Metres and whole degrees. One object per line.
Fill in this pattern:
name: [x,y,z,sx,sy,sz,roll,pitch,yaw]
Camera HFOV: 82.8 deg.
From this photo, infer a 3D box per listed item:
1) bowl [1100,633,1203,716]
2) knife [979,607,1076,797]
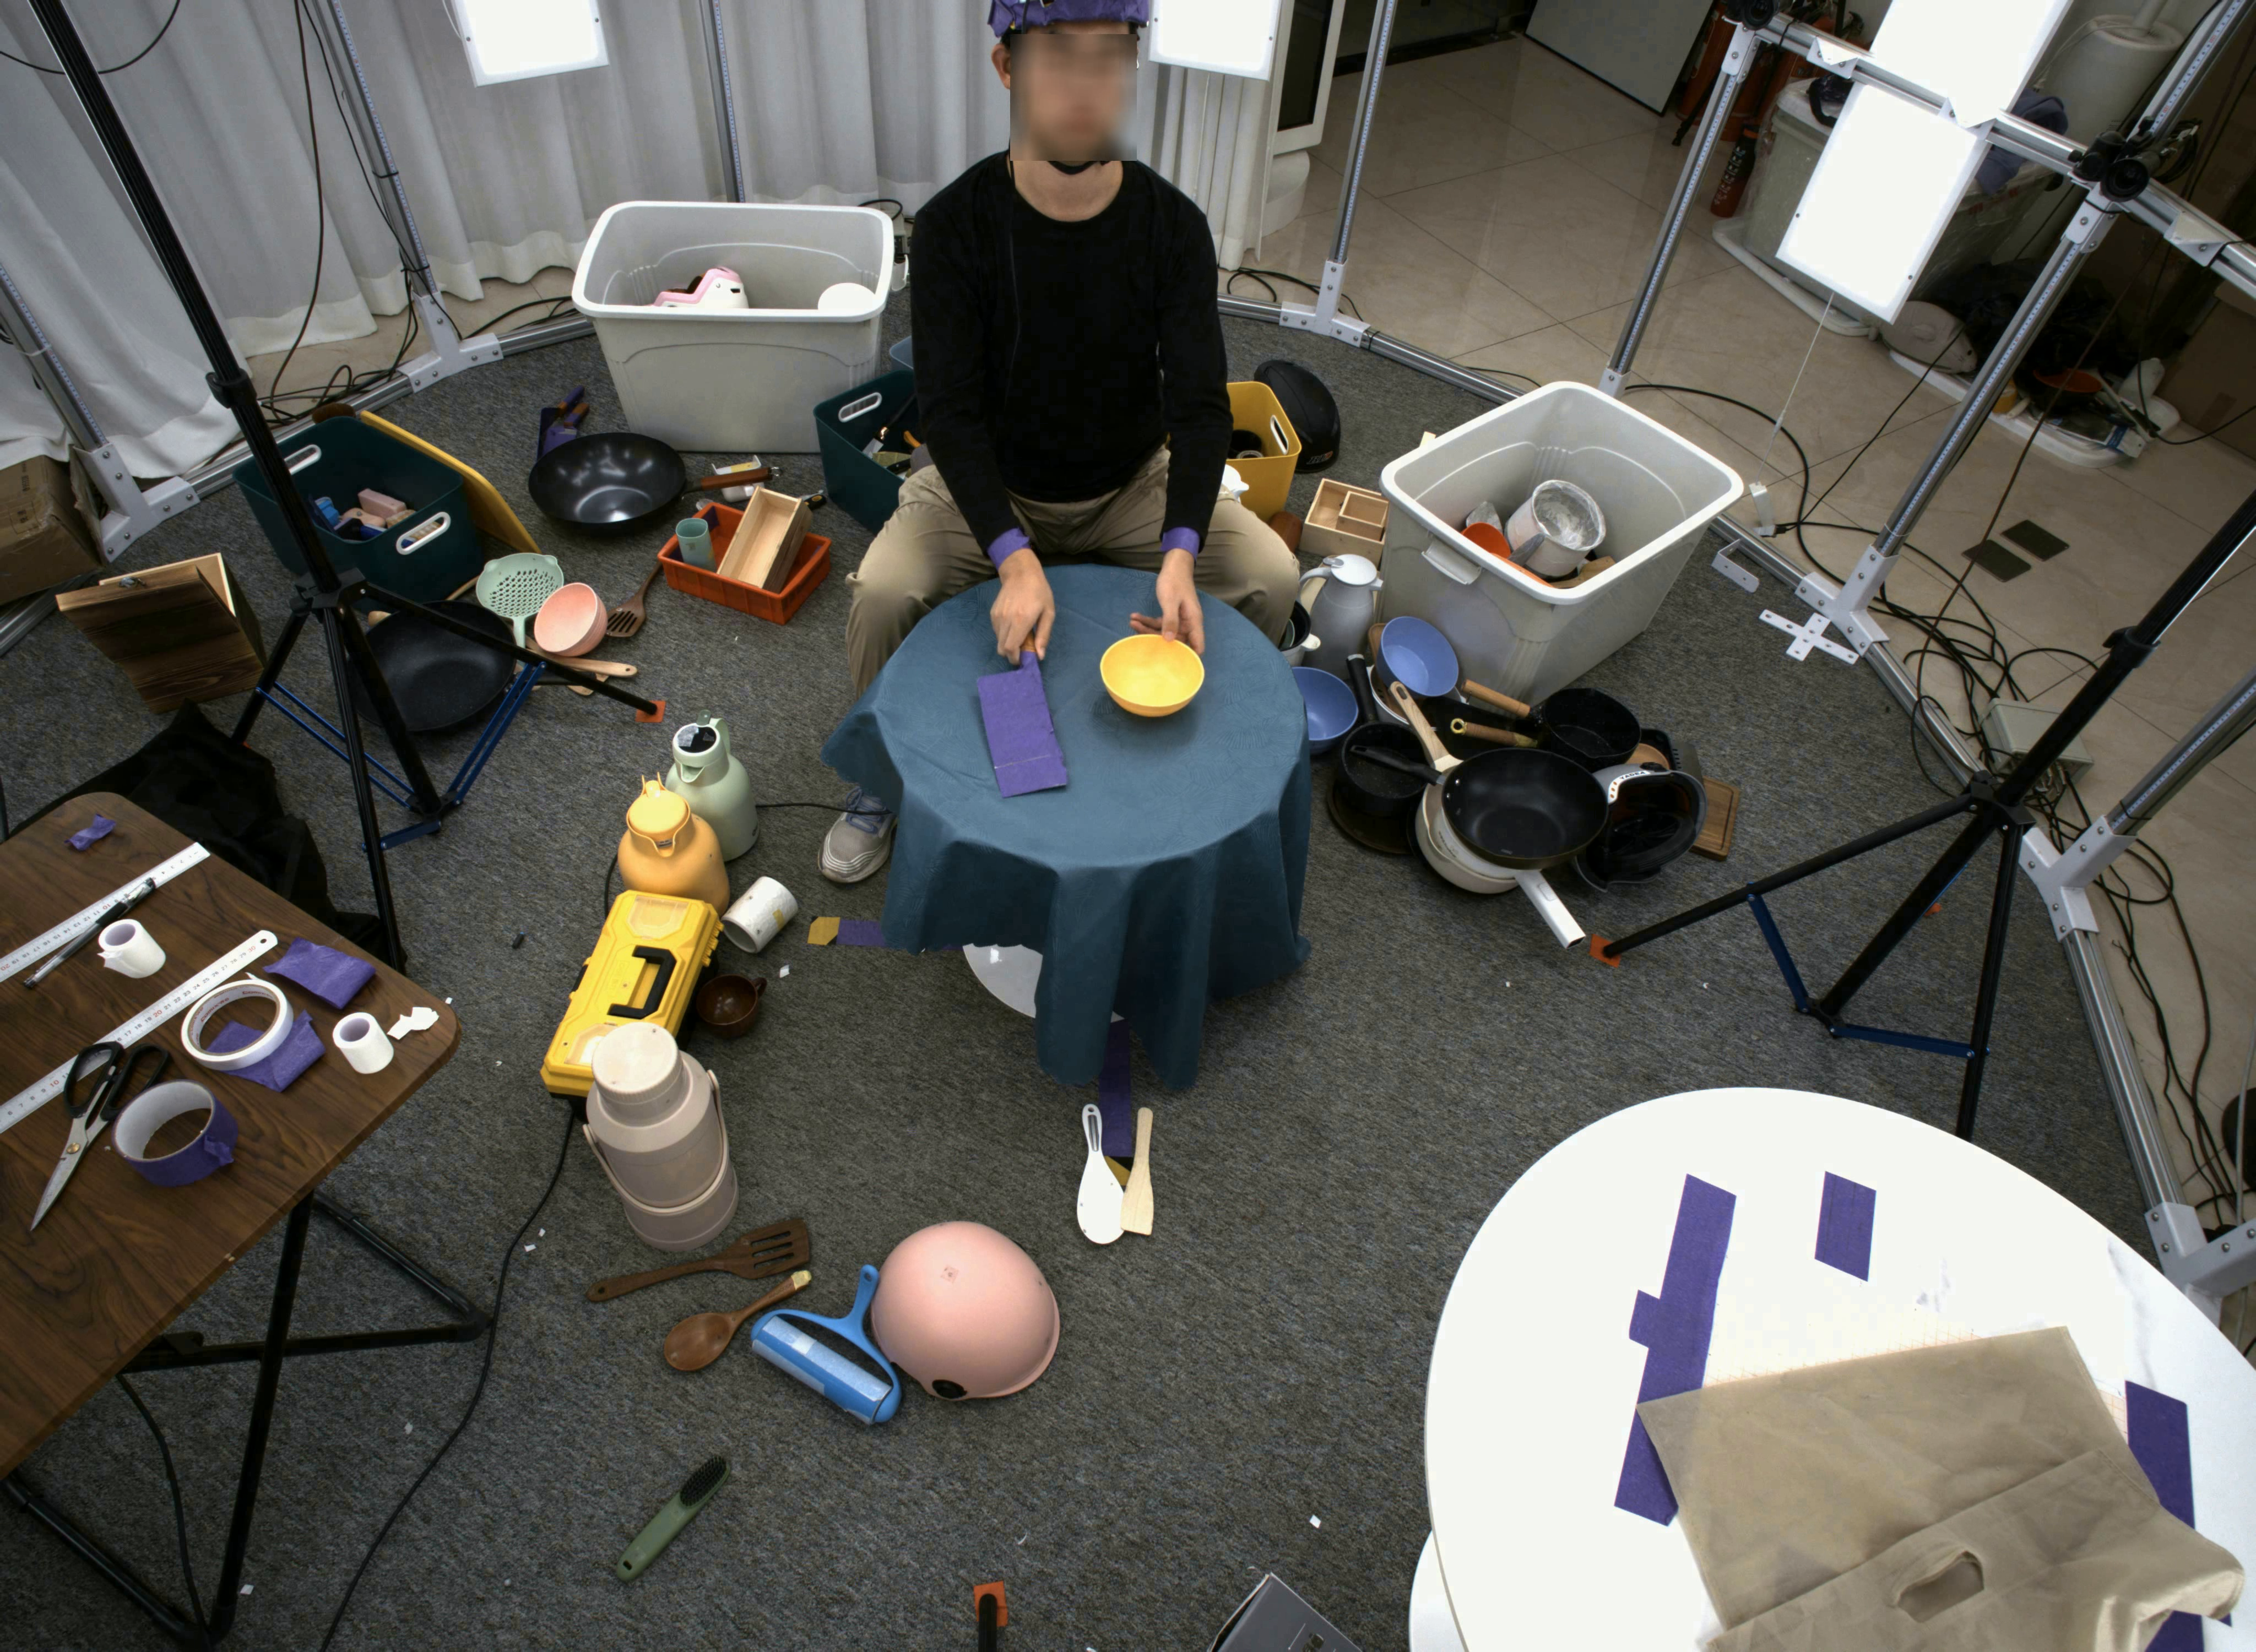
bowl: [0.030,-0.202,1.807,0.145,0.058,0.149,3,50,-4]
knife: [-0.155,-0.176,1.777,0.104,0.031,0.323,-12,55,-6]
